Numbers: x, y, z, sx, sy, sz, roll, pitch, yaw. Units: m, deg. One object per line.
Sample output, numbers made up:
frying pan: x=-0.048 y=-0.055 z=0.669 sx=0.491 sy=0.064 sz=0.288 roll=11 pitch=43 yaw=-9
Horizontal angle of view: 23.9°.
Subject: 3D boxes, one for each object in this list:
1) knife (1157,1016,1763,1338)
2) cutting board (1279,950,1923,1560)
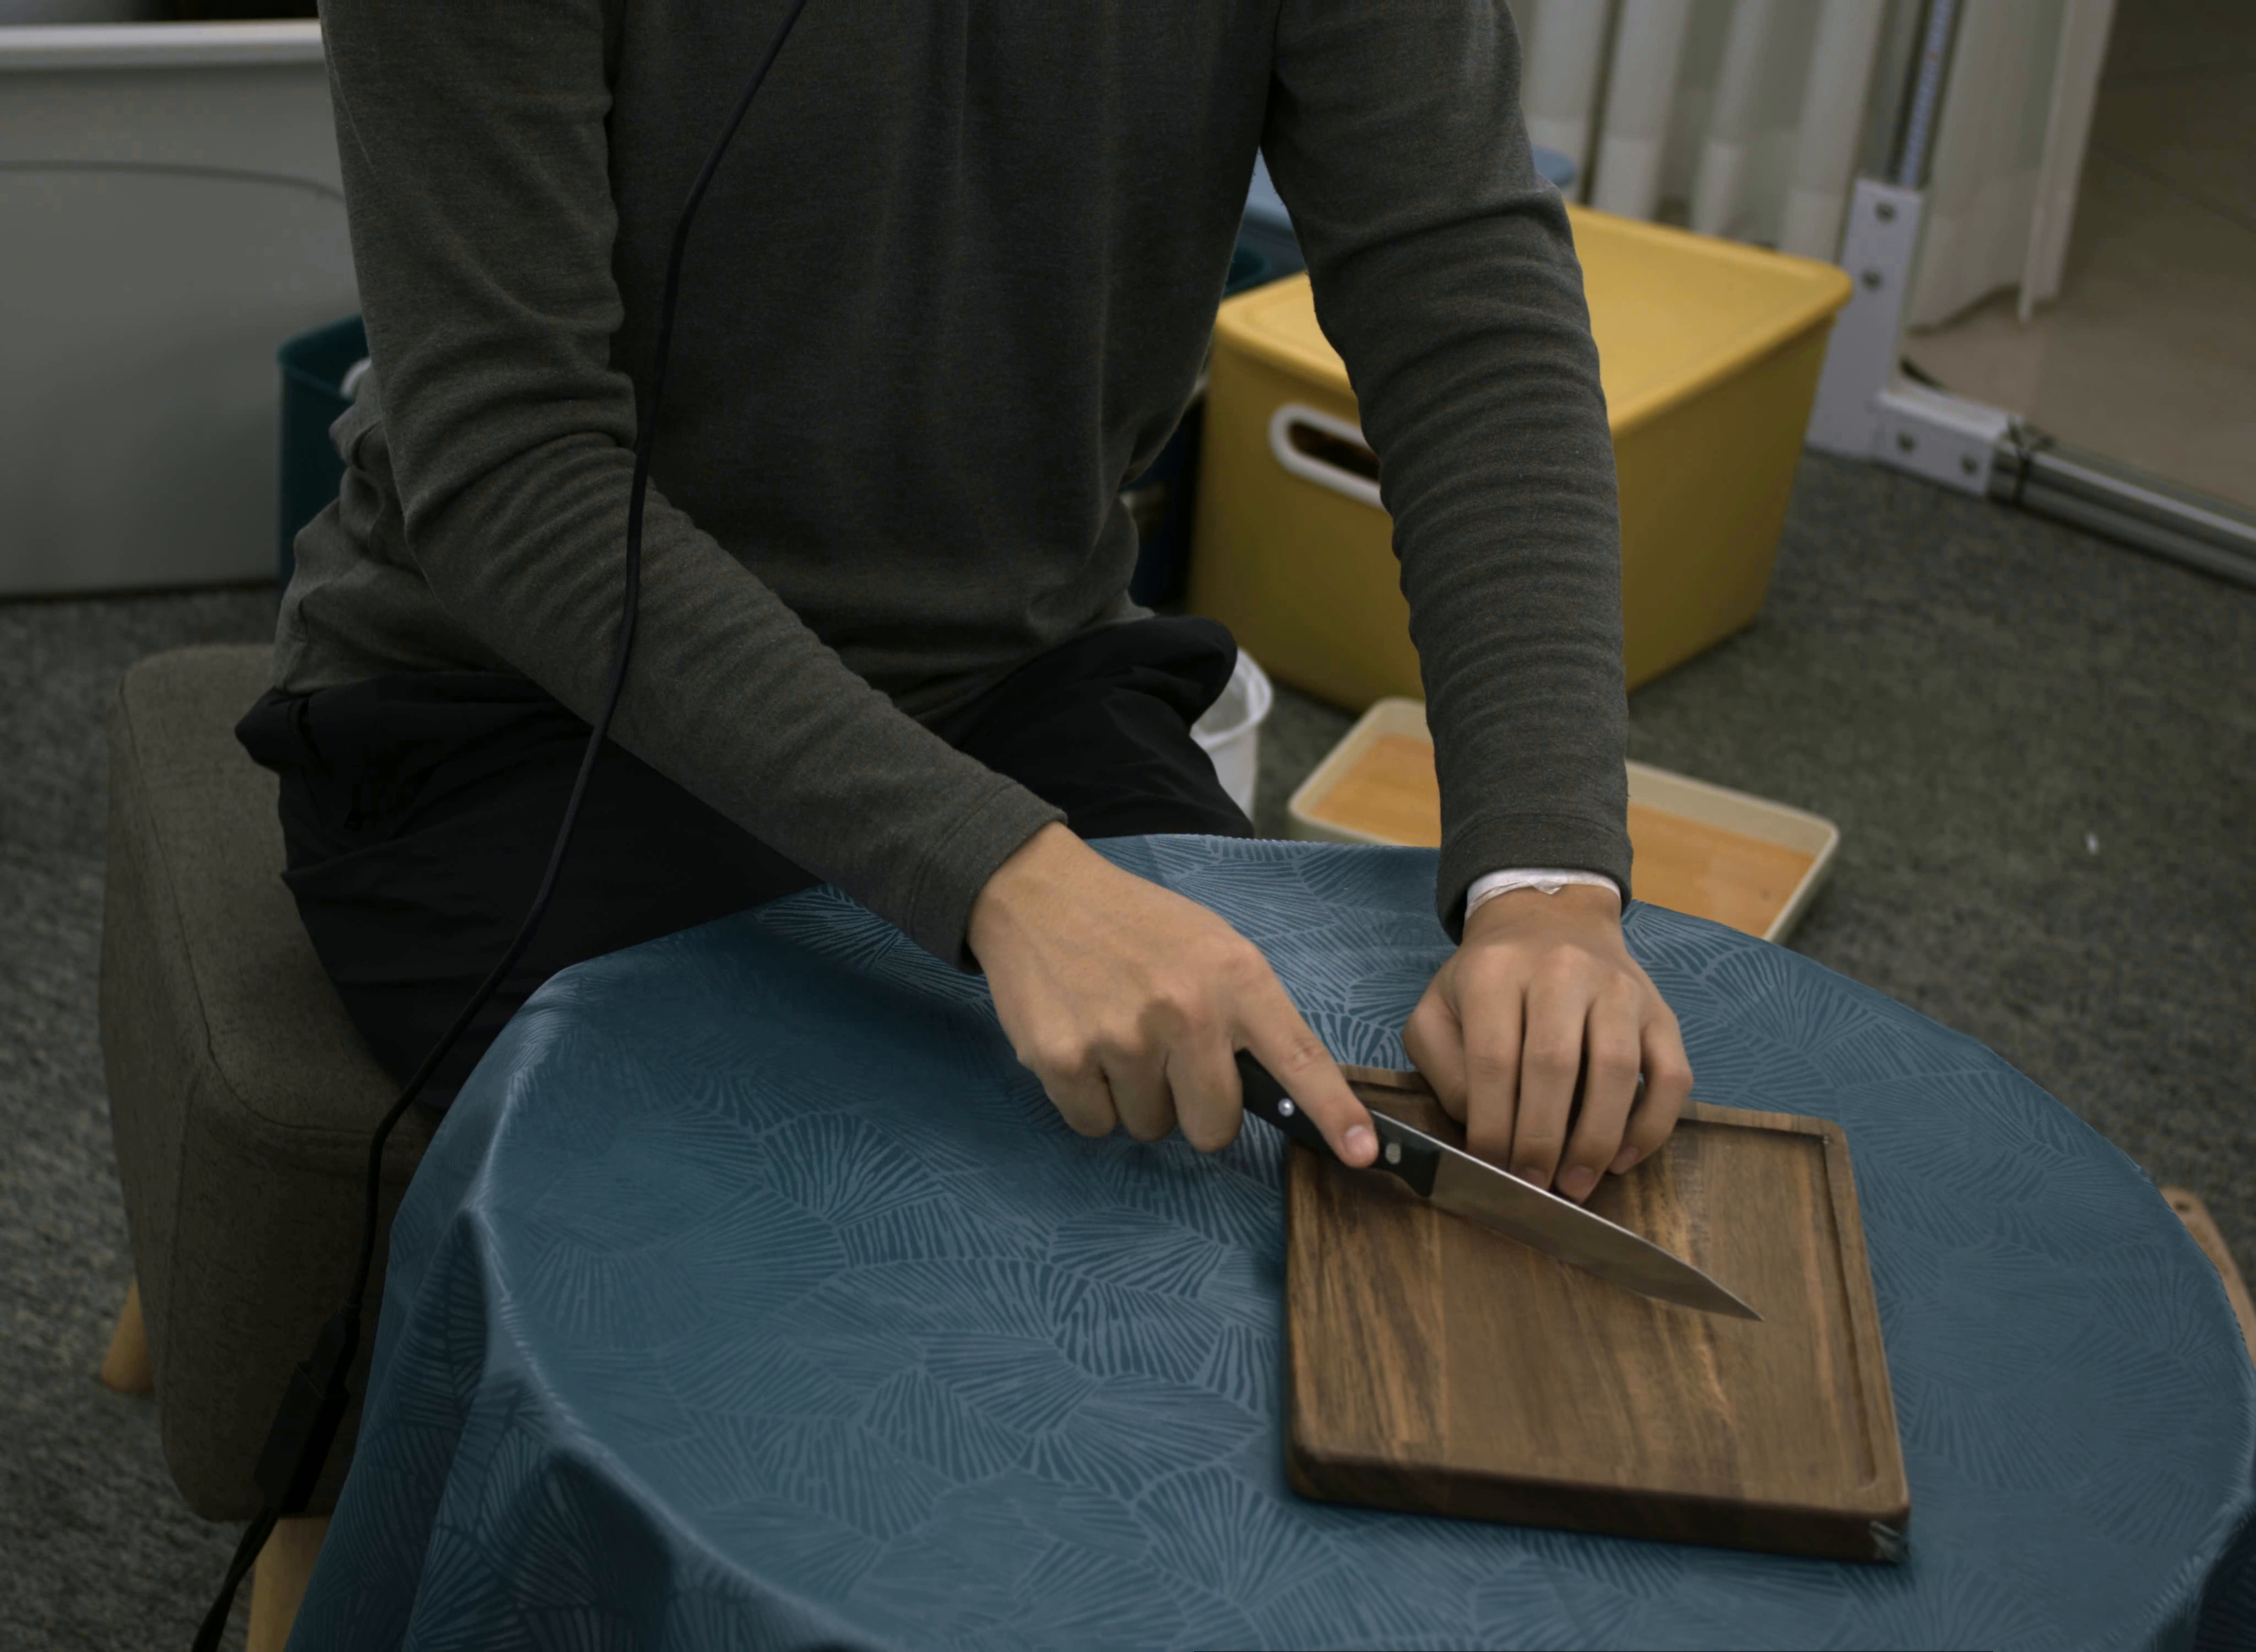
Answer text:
knife: x=0.110 y=0.116 z=1.778 sx=0.239 sy=0.024 sz=0.016 roll=26 pitch=33 yaw=26
cutting board: x=0.151 y=0.133 z=1.799 sx=0.200 sy=0.023 sz=0.354 roll=6 pitch=26 yaw=-1
